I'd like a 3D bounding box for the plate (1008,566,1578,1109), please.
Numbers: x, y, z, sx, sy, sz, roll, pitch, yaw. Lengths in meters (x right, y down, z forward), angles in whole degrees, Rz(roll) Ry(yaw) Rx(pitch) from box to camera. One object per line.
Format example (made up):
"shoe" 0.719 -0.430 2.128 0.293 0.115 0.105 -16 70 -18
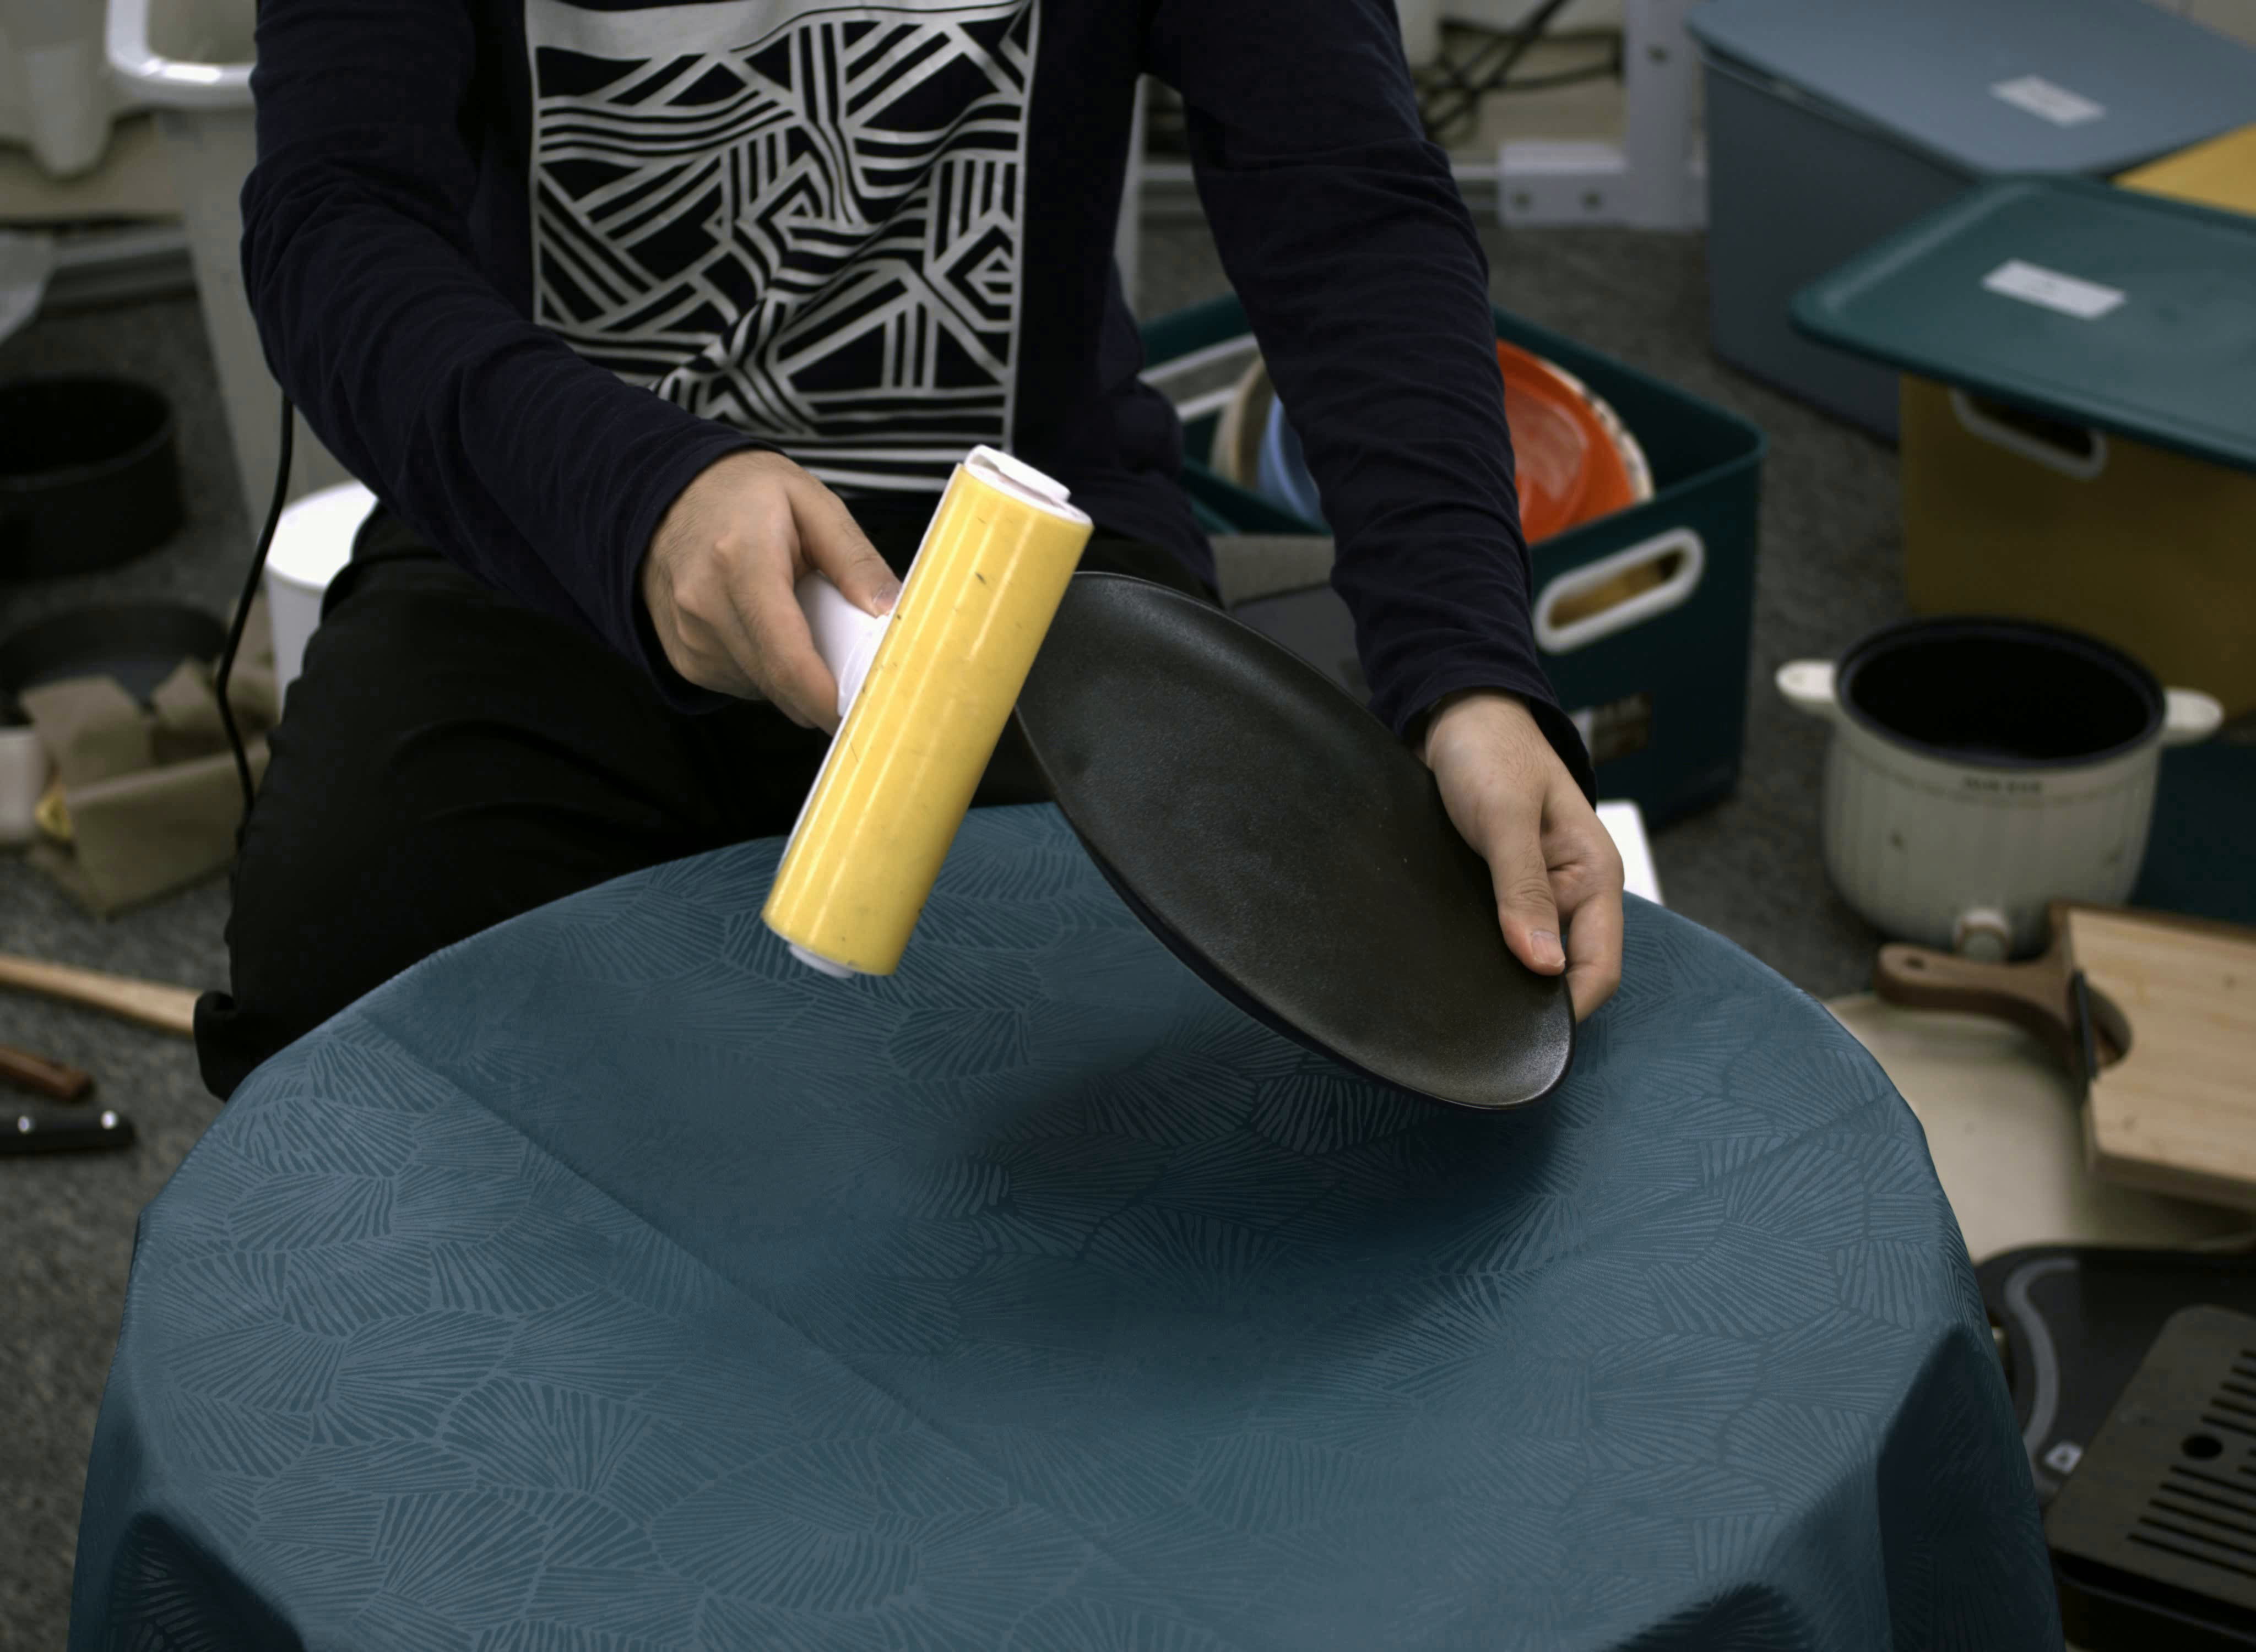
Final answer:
"plate" 0.050 0.008 1.877 0.243 0.023 0.248 33 26 -17

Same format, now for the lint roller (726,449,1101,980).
"lint roller" -0.099 -0.057 1.858 0.051 0.174 0.192 21 7 -38
